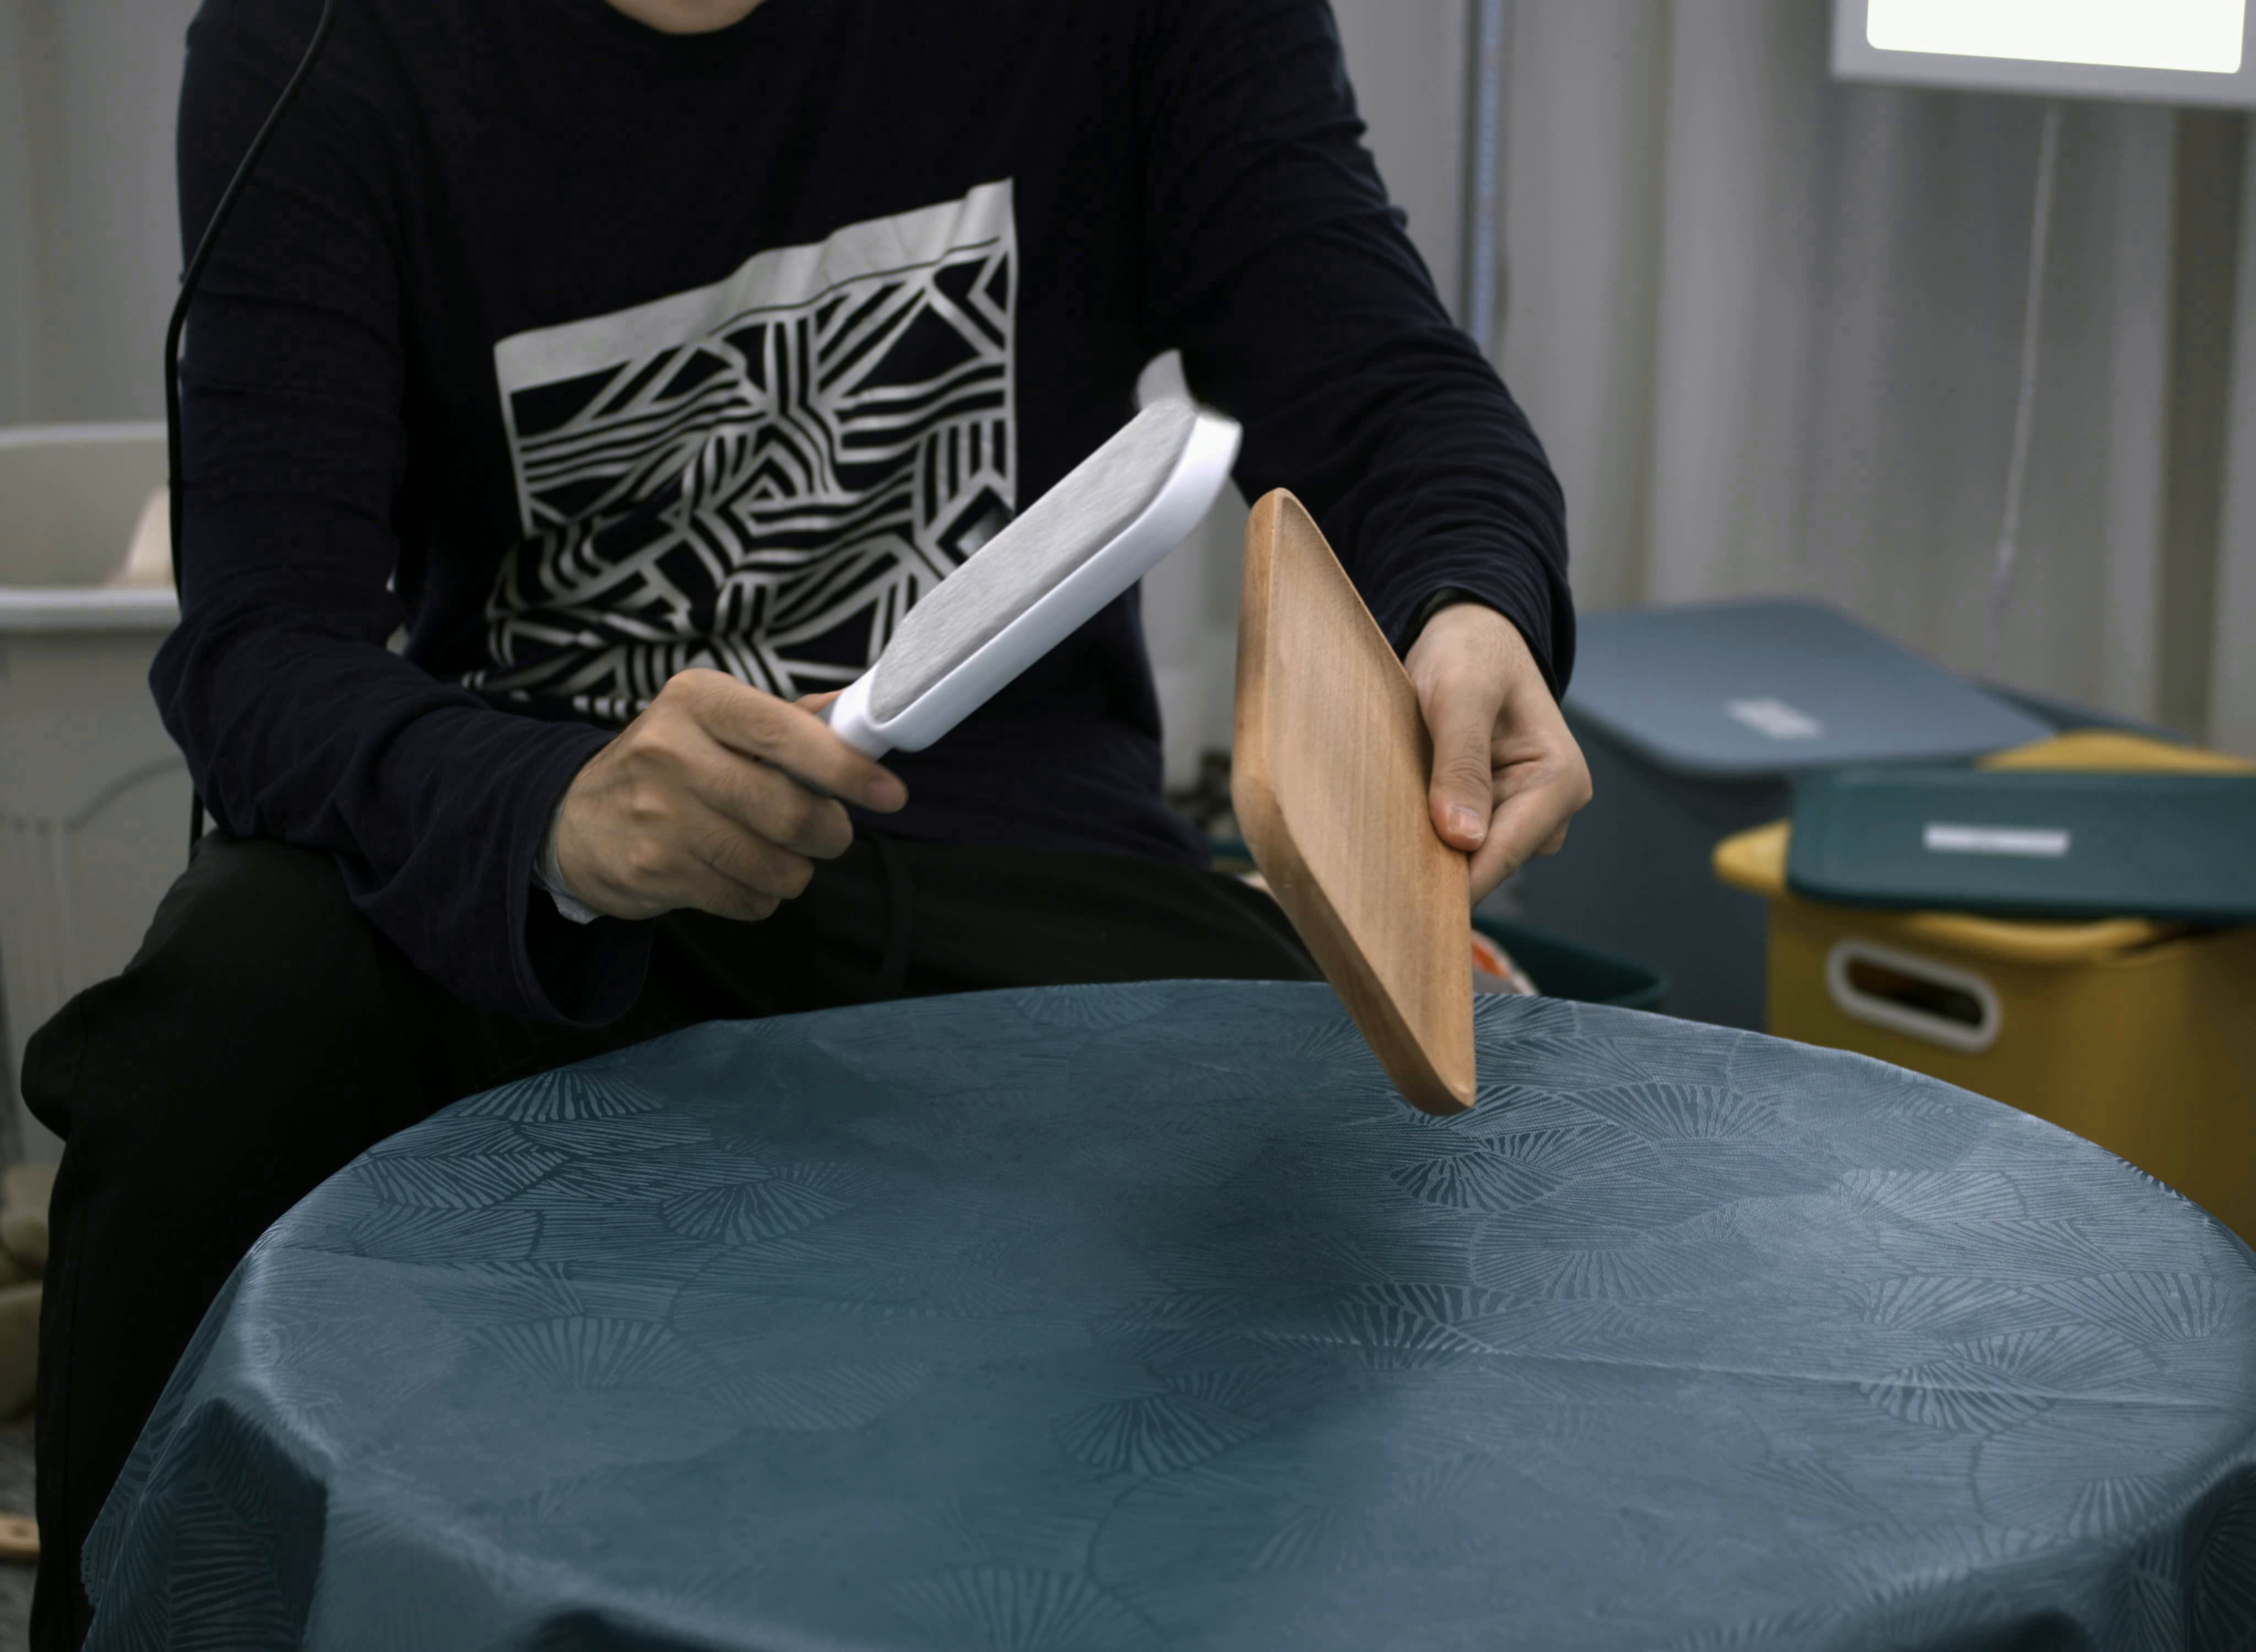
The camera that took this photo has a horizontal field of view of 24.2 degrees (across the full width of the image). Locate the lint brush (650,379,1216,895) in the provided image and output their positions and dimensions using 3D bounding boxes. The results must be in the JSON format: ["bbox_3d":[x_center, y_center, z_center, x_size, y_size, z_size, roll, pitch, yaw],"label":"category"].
[{"bbox_3d":[-0.065,-0.051,1.610,0.021,0.059,0.308,26,-38,-24],"label":"lint brush"}]

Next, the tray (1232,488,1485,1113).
[{"bbox_3d":[0.071,-0.011,1.591,0.023,0.132,0.249,-24,20,13],"label":"tray"}]
